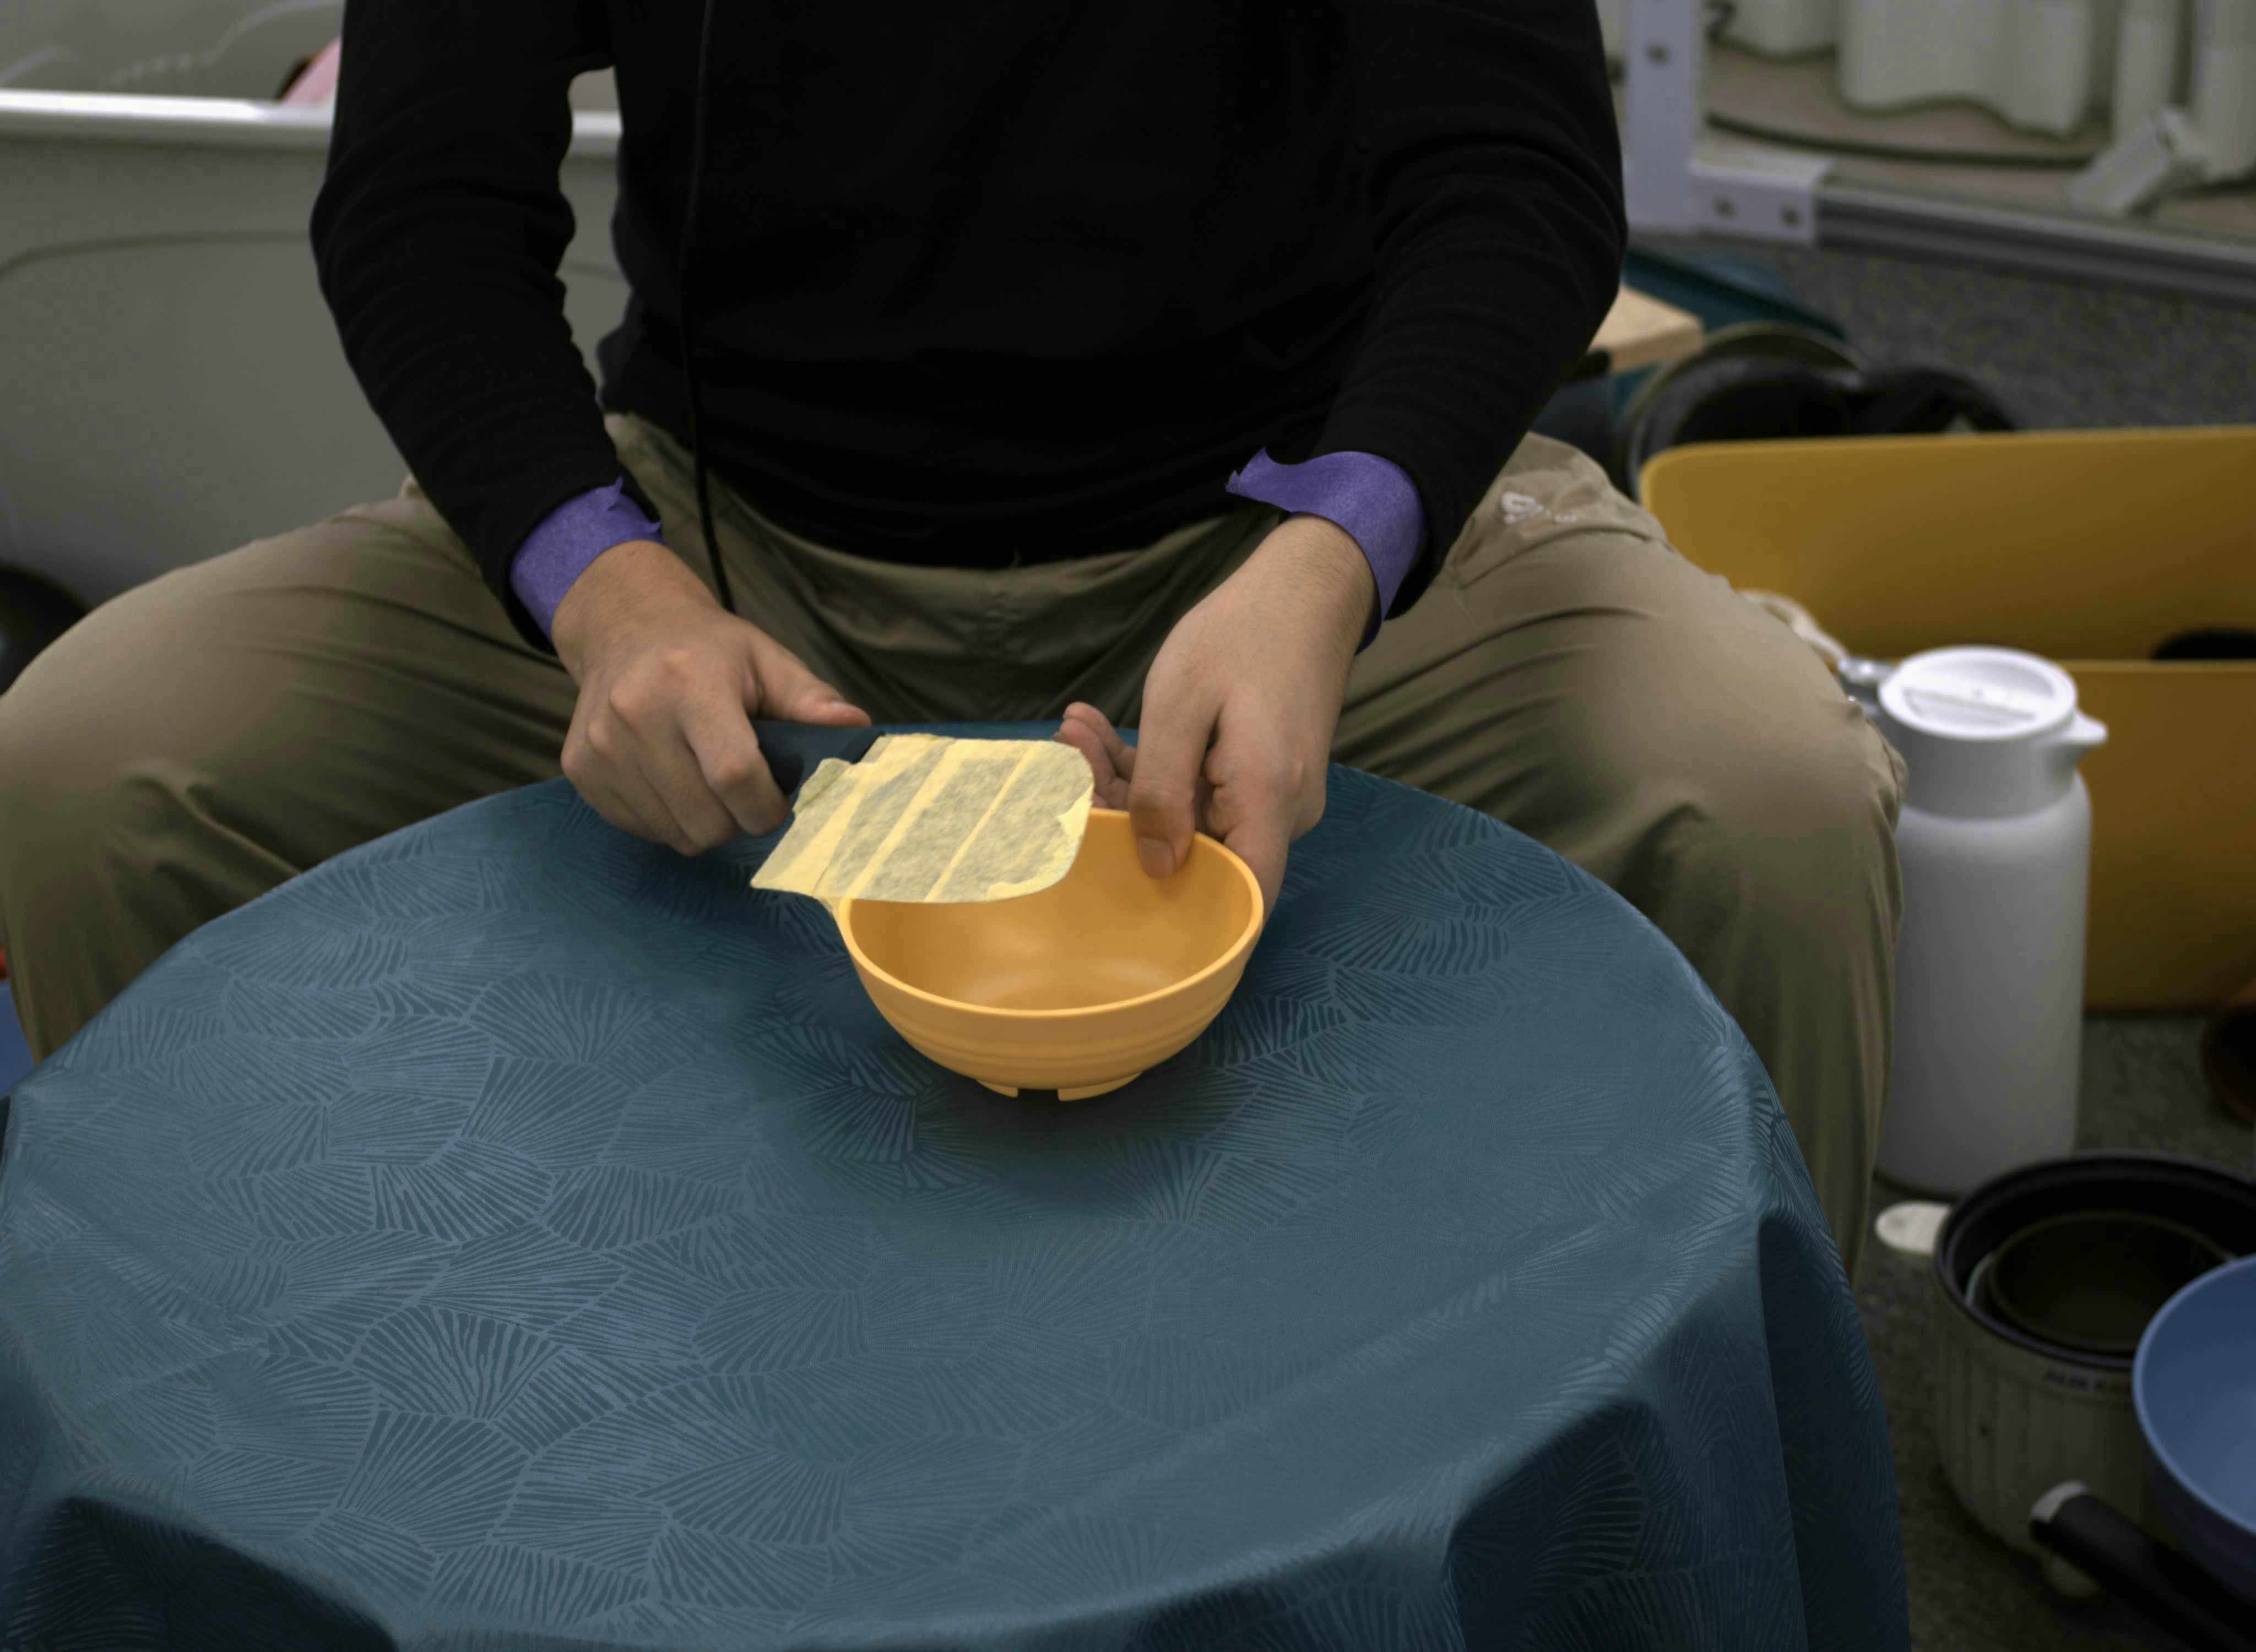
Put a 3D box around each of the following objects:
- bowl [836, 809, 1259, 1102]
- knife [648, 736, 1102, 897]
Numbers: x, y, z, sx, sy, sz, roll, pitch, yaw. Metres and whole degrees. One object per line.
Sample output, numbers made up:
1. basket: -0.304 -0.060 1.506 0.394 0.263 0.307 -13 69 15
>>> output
1. bowl: -0.027 0.053 1.925 0.144 0.059 0.147 0 28 0
2. knife: -0.096 -0.004 1.968 0.082 0.027 0.287 -50 27 -22
